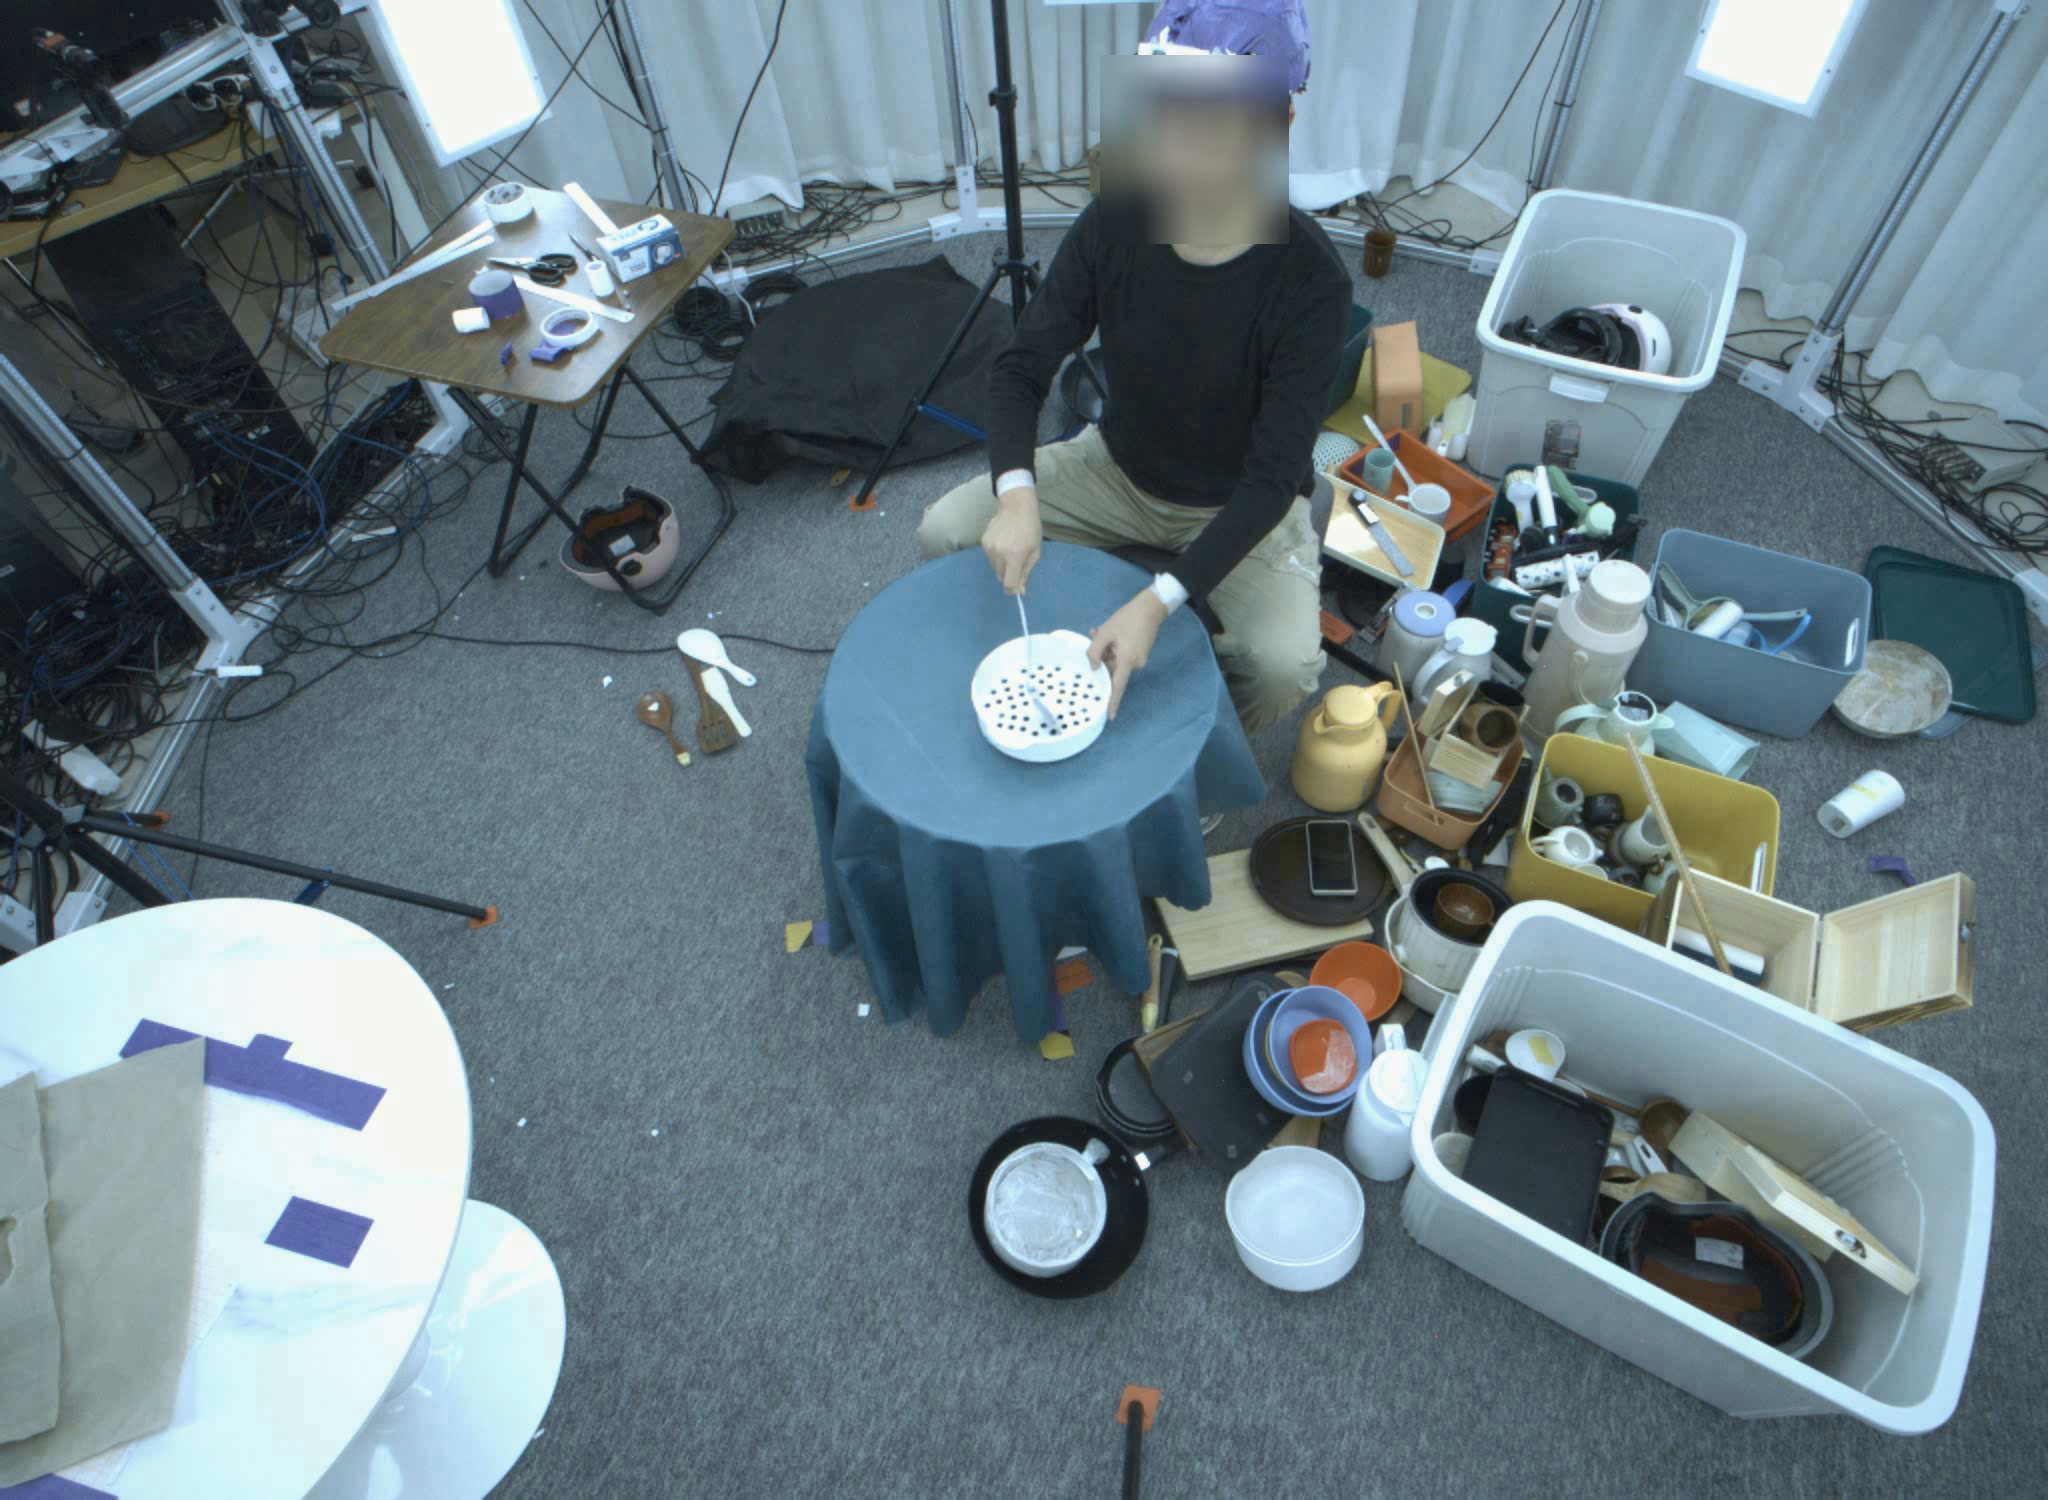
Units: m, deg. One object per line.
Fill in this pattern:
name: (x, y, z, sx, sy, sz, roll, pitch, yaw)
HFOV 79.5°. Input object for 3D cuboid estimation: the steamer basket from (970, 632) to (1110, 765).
steamer basket: (0.024, -0.071, 1.794, 0.199, 0.070, 0.231, 23, 58, 16)

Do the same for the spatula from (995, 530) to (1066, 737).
spatula: (0.007, -0.178, 1.799, 0.044, 0.100, 0.361, -15, 71, 11)
